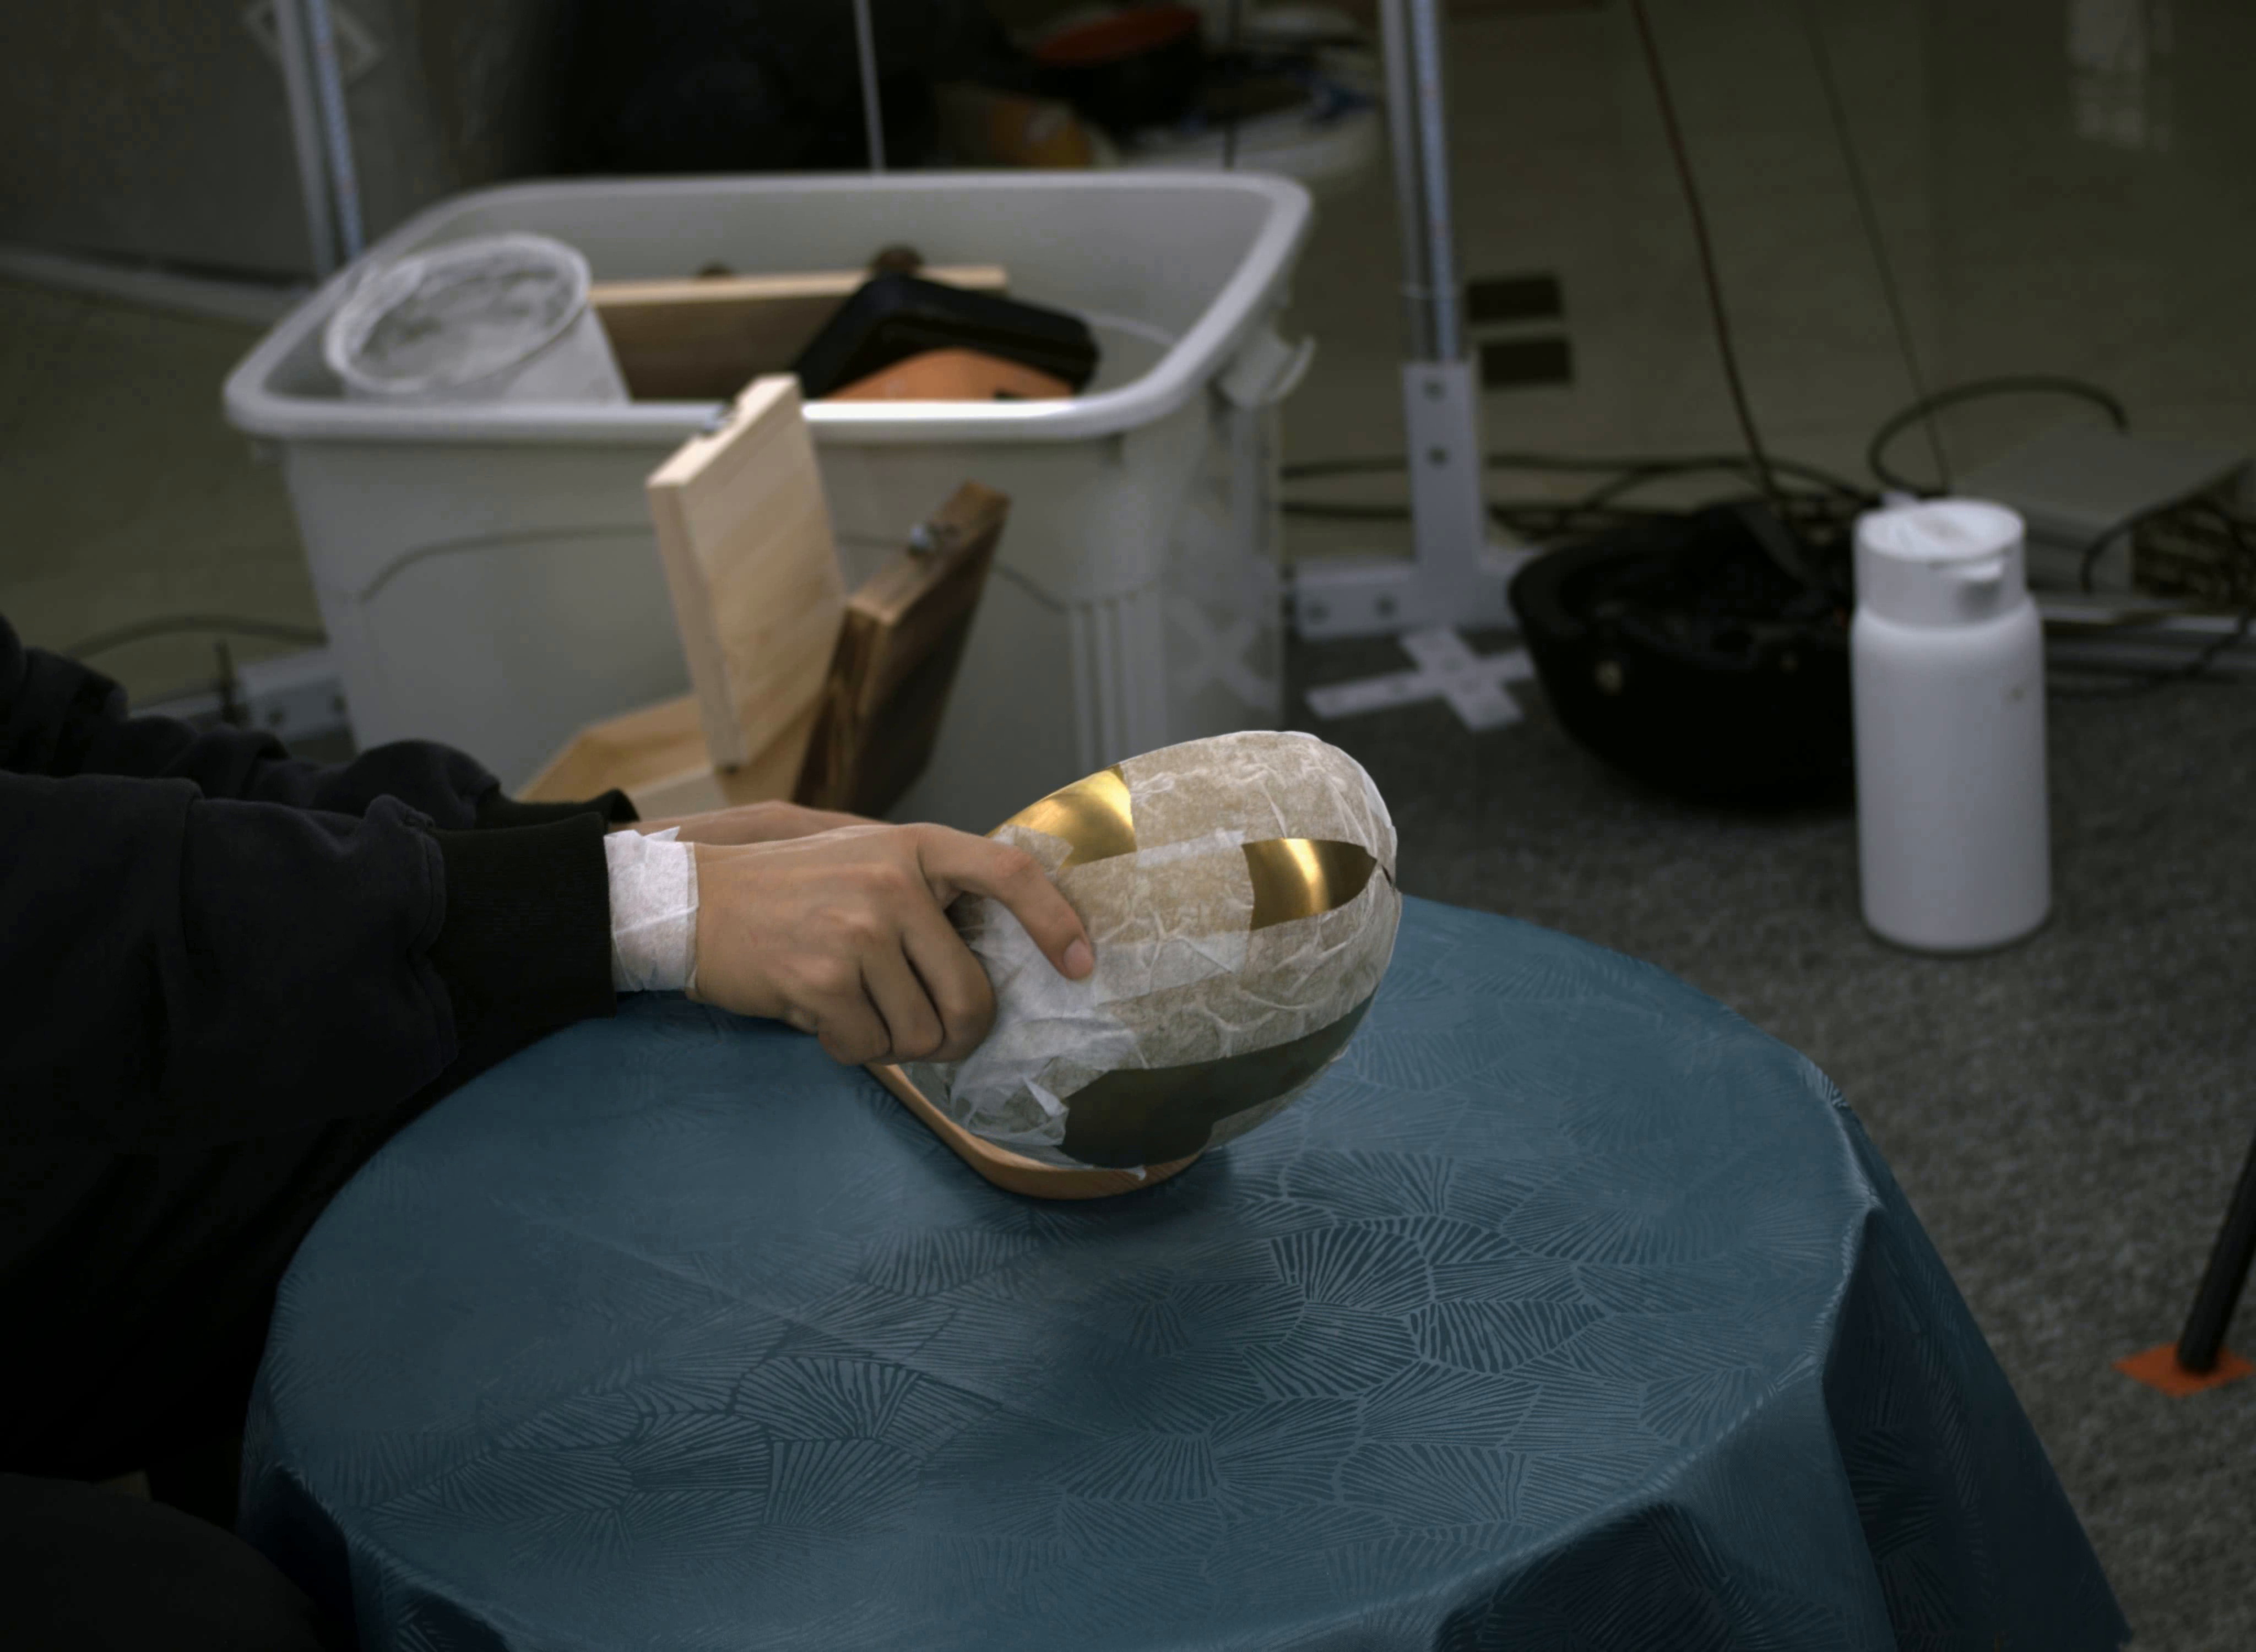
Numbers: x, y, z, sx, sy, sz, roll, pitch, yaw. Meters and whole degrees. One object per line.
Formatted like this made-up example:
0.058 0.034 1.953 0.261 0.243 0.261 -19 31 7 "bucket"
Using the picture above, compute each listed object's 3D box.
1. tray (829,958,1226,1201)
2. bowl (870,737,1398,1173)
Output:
-0.040 0.095 2.239 0.101 0.020 0.228 -19 29 -21 "tray"
0.013 0.066 2.051 0.214 0.218 0.093 -16 63 -21 "bowl"
